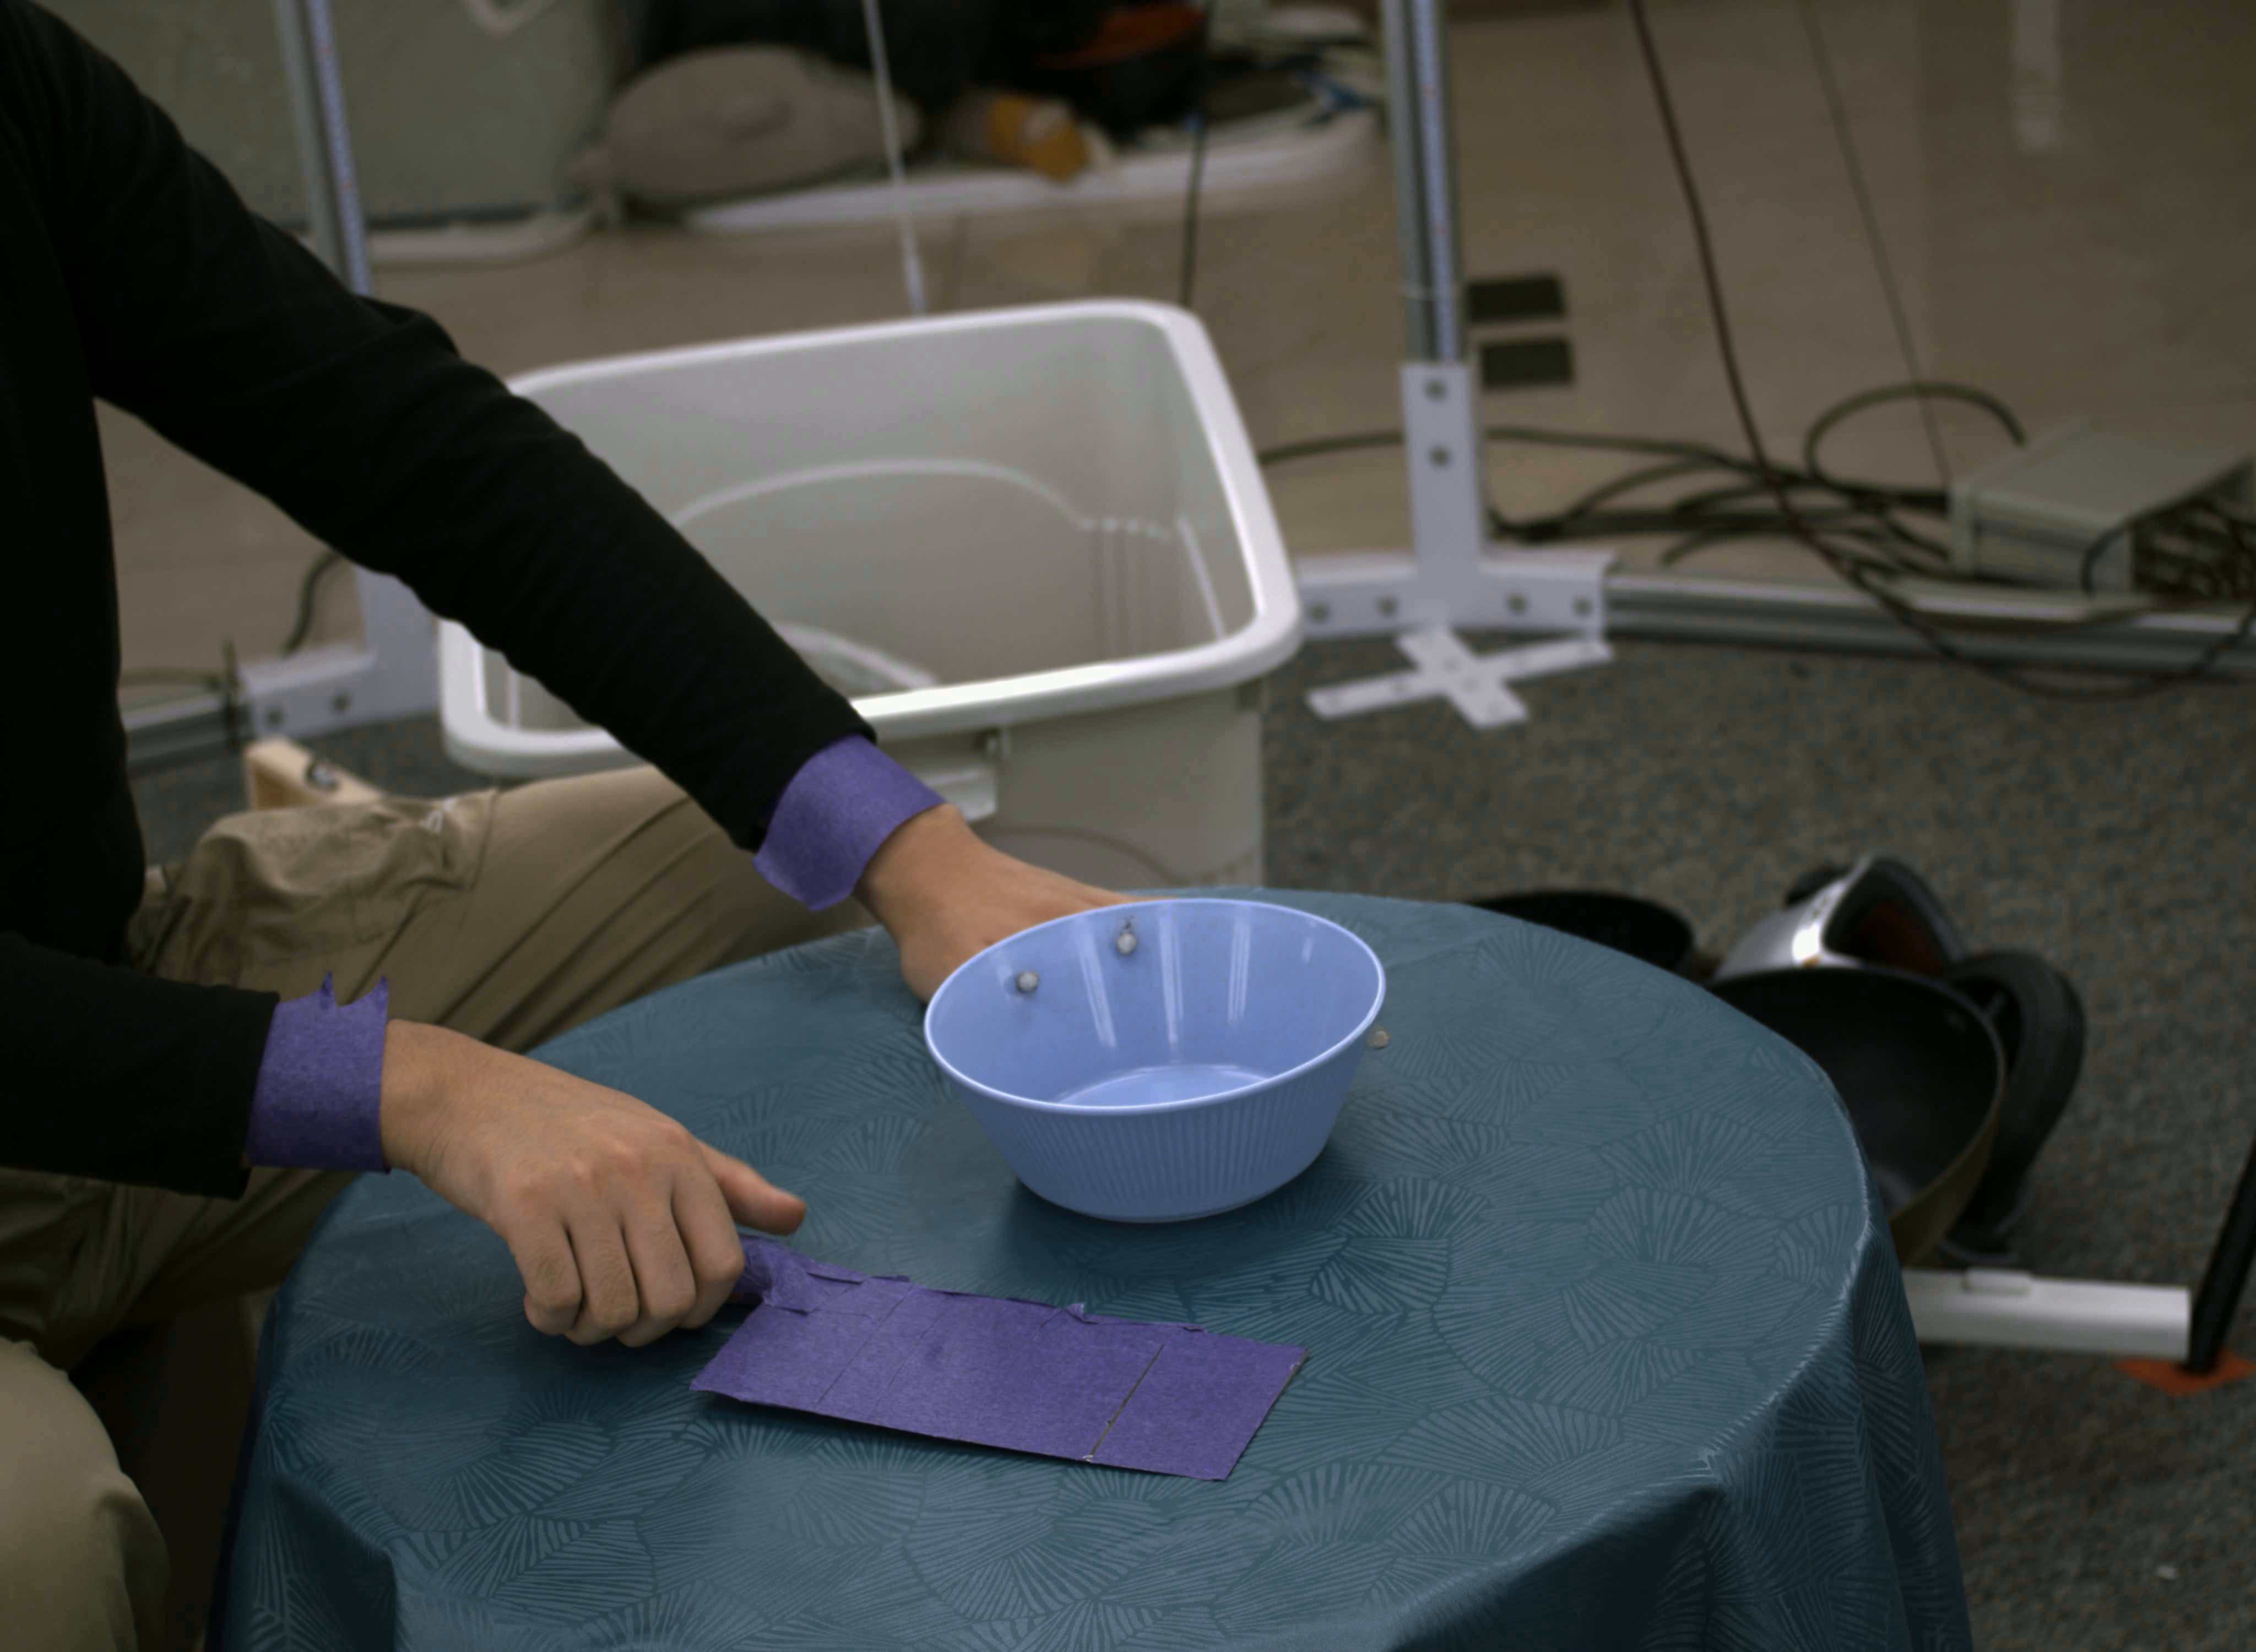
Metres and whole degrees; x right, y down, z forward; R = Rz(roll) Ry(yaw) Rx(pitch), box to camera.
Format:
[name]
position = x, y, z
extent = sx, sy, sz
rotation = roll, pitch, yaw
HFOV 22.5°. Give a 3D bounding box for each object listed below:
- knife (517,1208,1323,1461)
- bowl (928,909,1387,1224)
[knife]
position = -0.091, 0.183, 2.047
extent = 0.314, 0.033, 0.102
rotation = 5, 27, 22
[bowl]
position = 0.014, 0.097, 2.153
extent = 0.176, 0.071, 0.173
rotation = -6, 23, 3
